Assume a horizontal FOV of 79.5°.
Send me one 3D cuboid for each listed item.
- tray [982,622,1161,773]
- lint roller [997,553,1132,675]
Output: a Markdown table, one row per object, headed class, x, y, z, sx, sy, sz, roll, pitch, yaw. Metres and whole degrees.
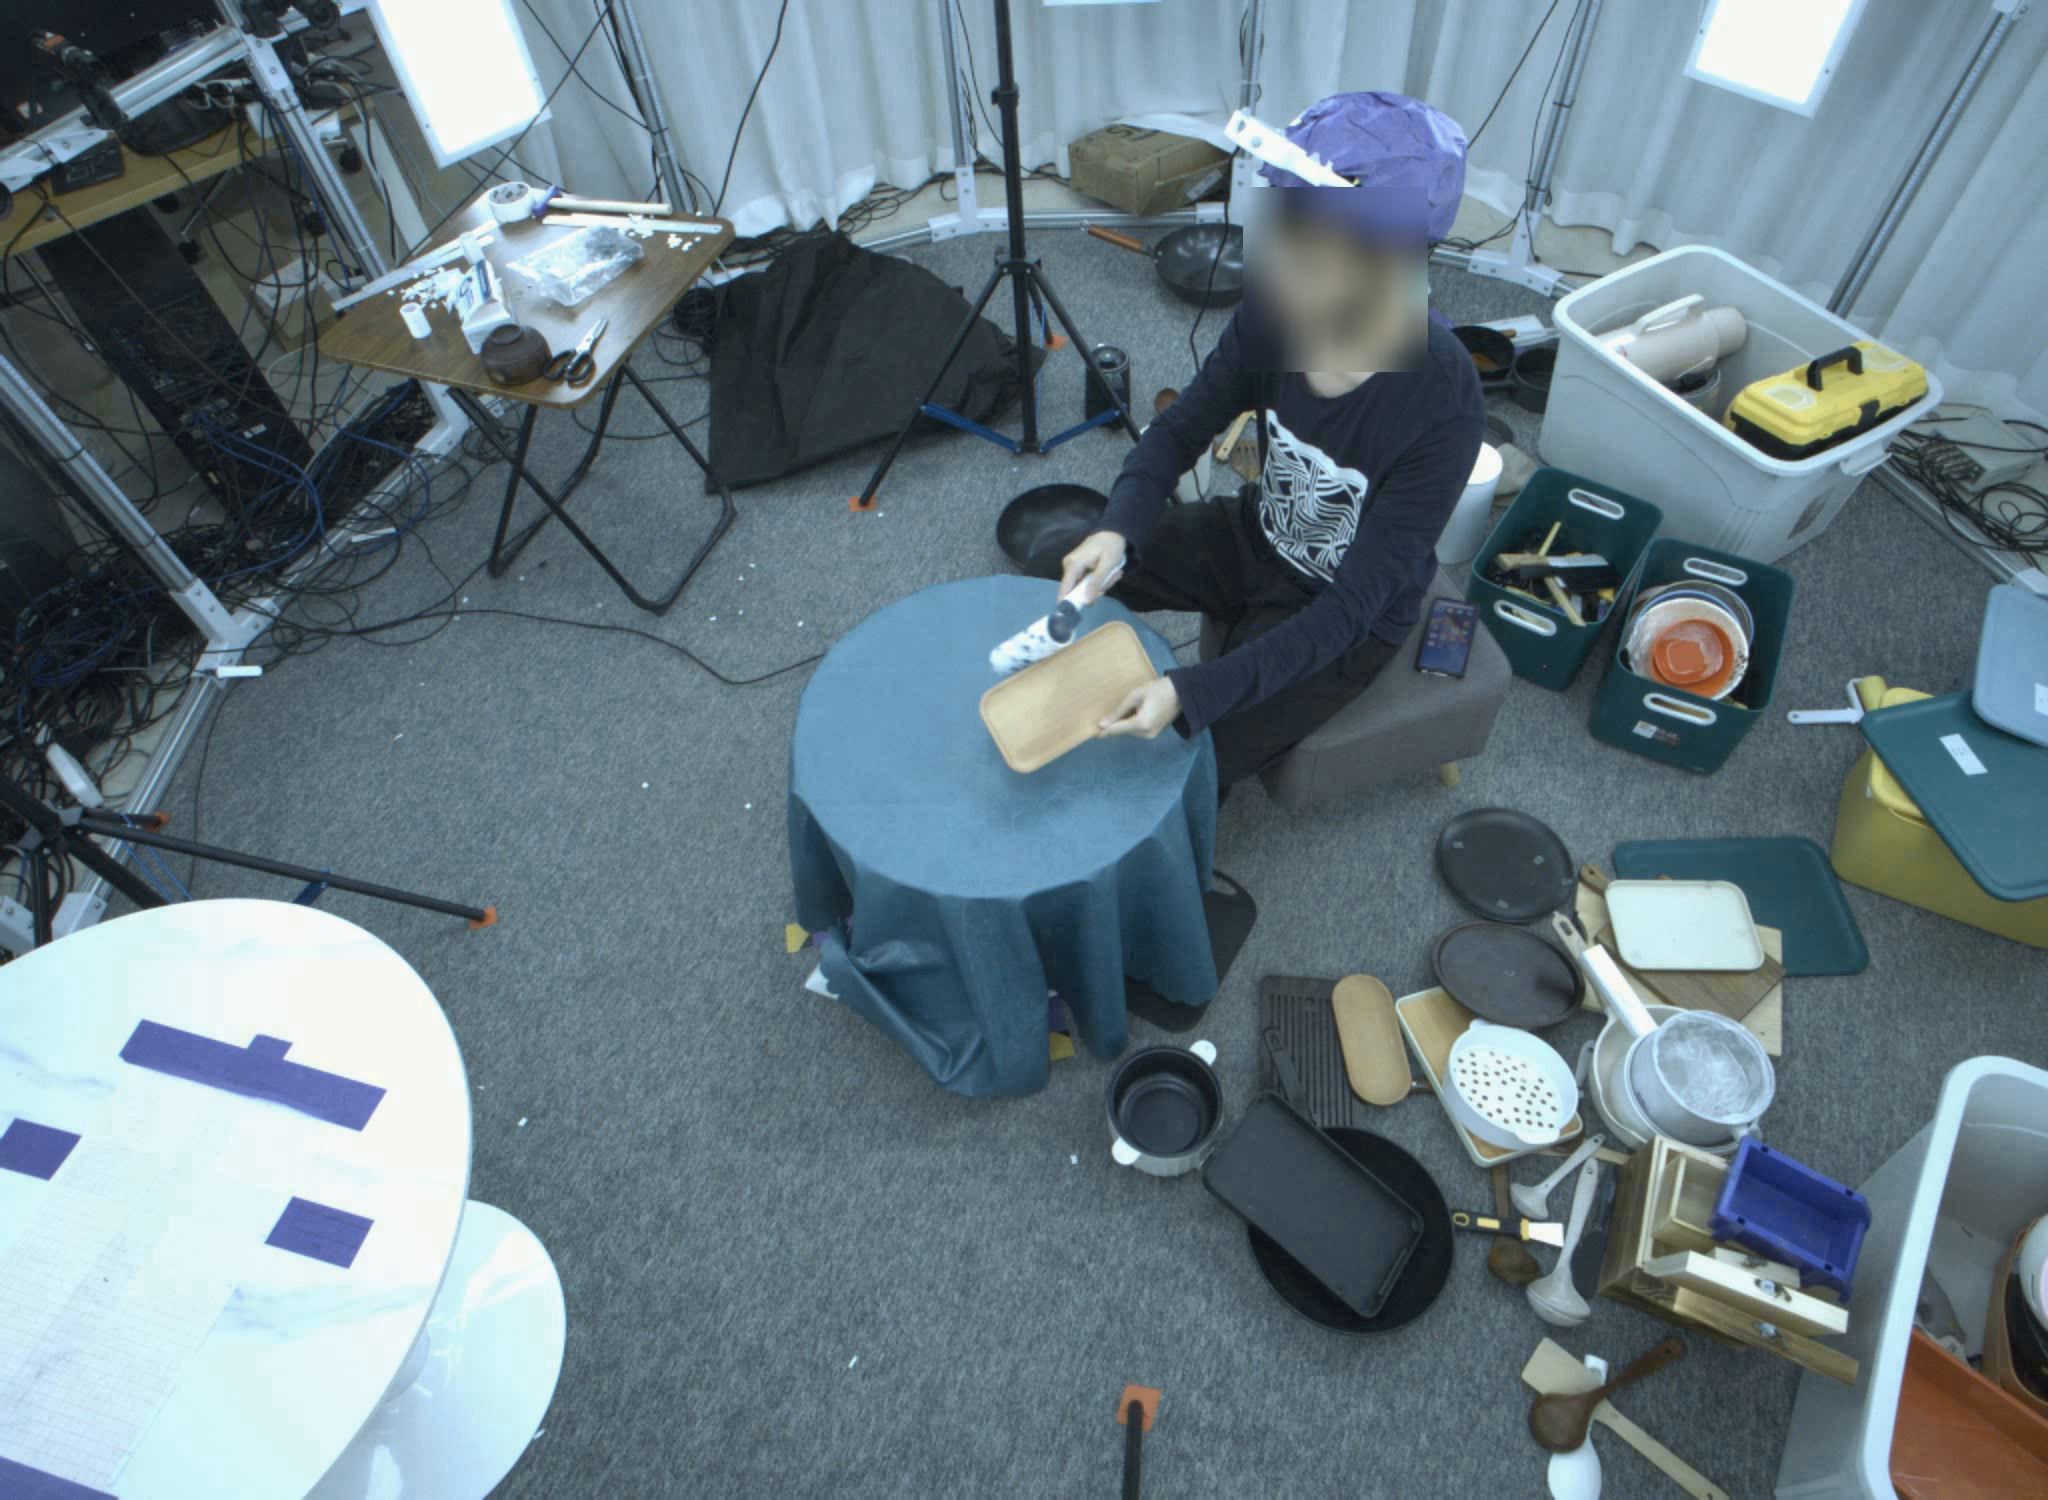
| class | x | y | z | sx | sy | sz | roll | pitch | yaw |
| --- | --- | --- | --- | --- | --- | --- | --- | --- | --- |
| tray | 0.067 | -0.074 | 1.712 | 0.252 | 0.022 | 0.131 | -29 | 103 | -15 |
| lint roller | 0.074 | -0.213 | 1.764 | 0.051 | 0.174 | 0.248 | 47 | 60 | -10 |
